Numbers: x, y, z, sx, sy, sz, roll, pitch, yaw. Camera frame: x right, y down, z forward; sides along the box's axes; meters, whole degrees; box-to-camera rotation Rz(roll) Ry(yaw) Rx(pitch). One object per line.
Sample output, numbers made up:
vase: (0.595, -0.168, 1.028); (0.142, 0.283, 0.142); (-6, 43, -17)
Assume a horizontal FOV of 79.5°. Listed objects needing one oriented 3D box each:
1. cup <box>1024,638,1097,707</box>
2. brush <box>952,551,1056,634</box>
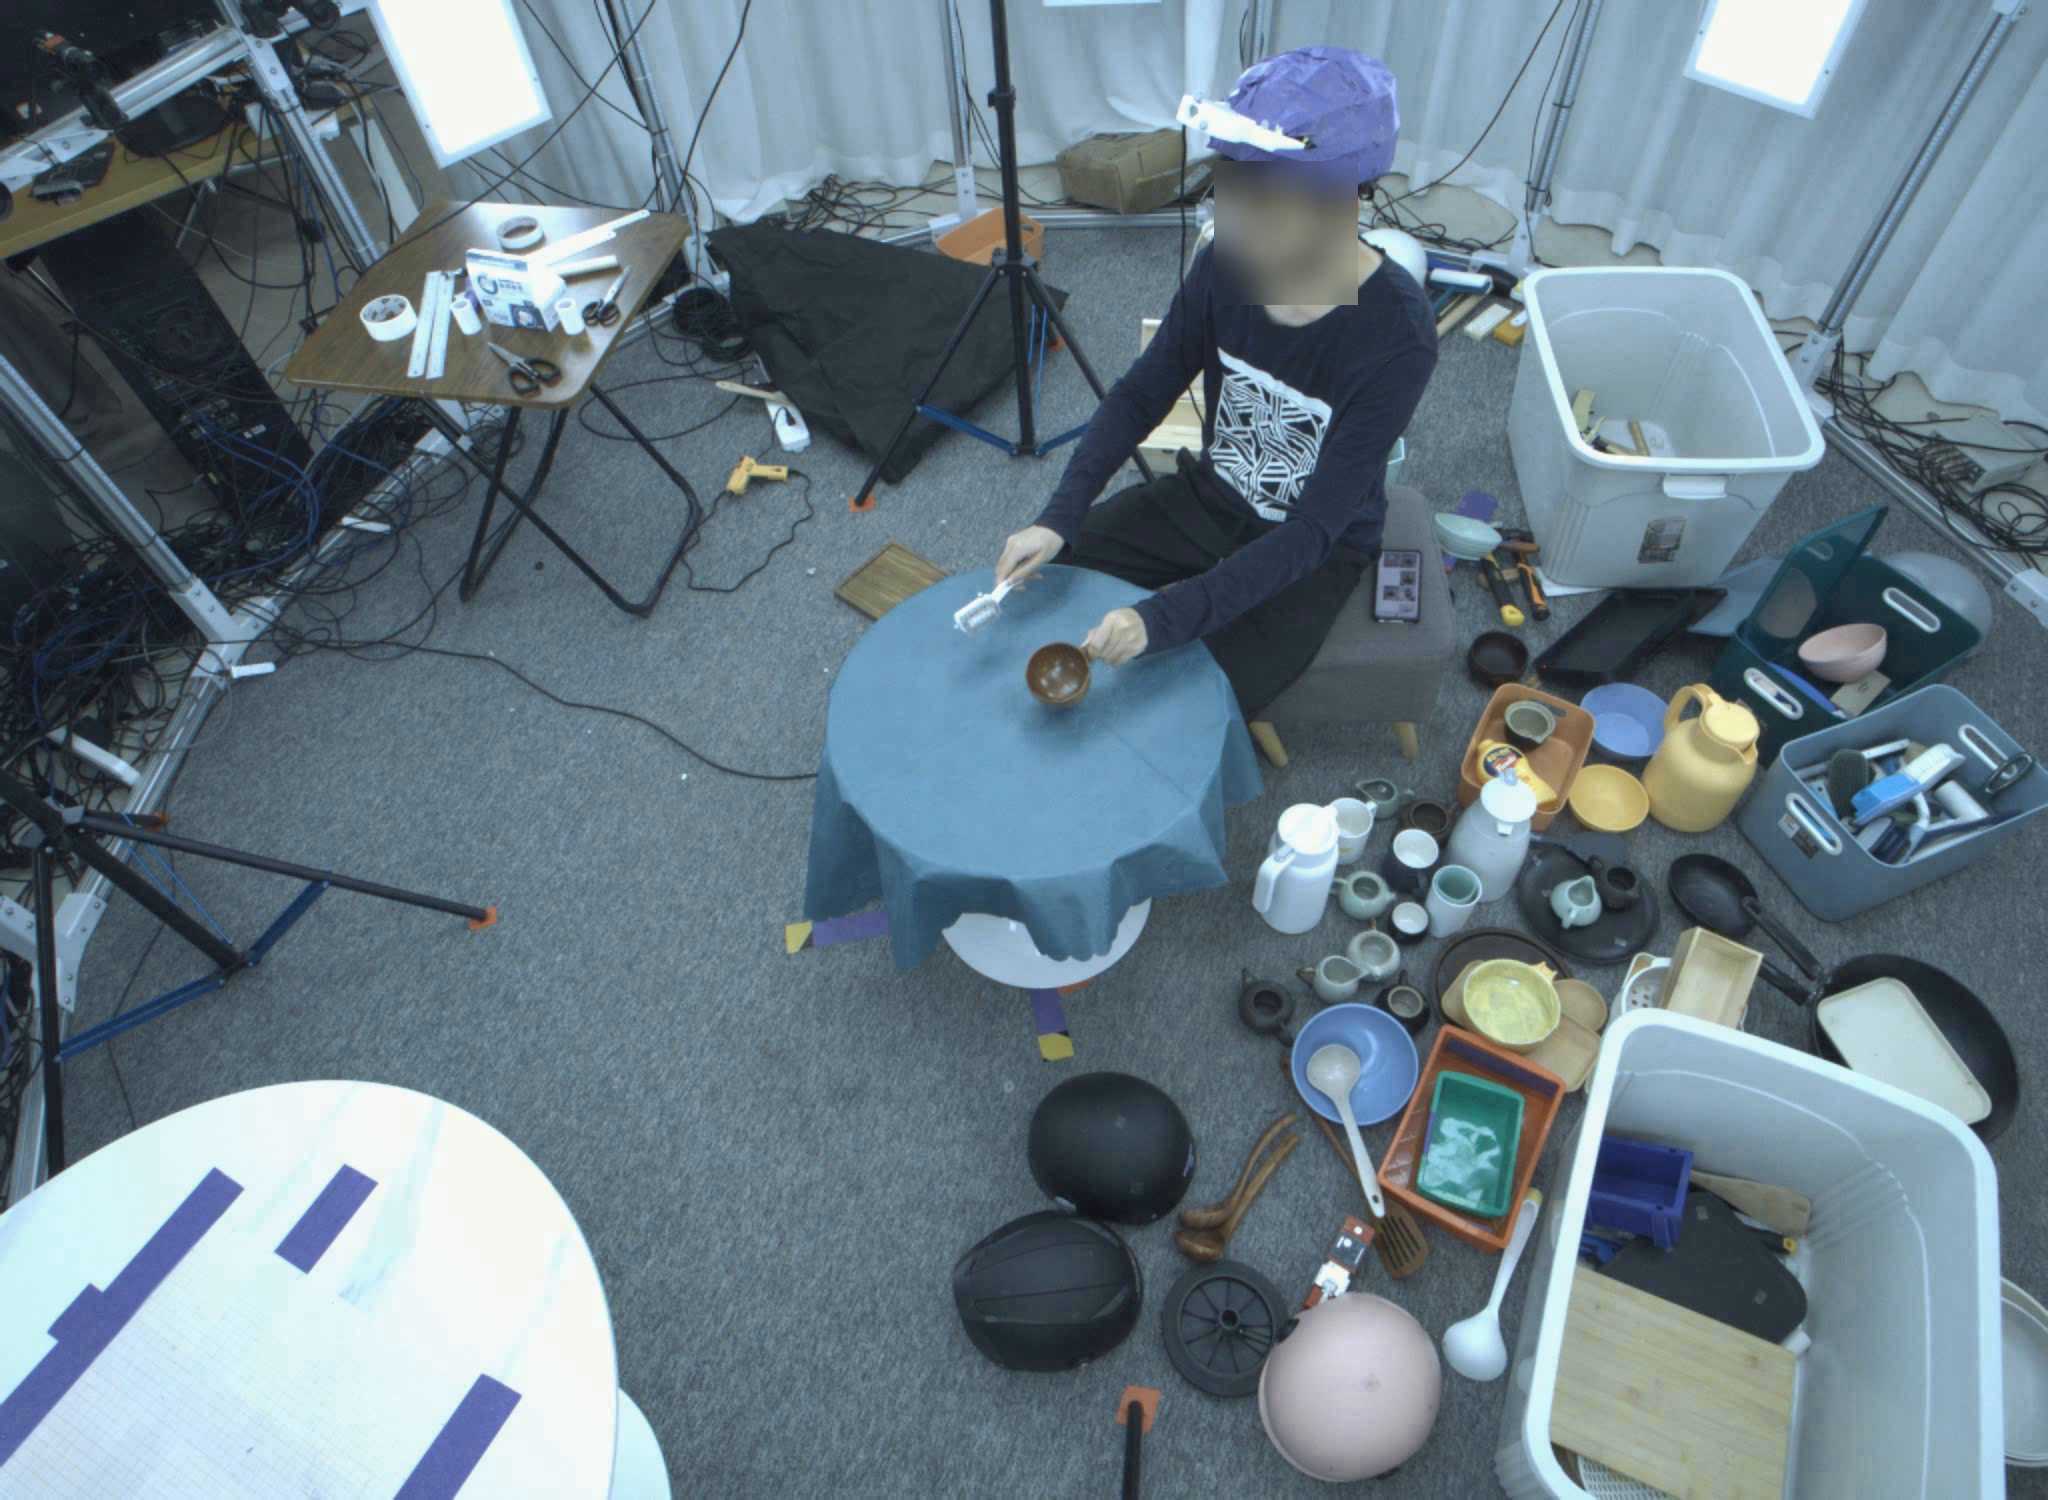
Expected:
cup: (0.063, -0.114, 1.784); (0.119, 0.068, 0.095); (-42, 71, -1)
brush: (-0.018, -0.246, 1.882); (0.049, 0.035, 0.246); (5, 35, 47)
